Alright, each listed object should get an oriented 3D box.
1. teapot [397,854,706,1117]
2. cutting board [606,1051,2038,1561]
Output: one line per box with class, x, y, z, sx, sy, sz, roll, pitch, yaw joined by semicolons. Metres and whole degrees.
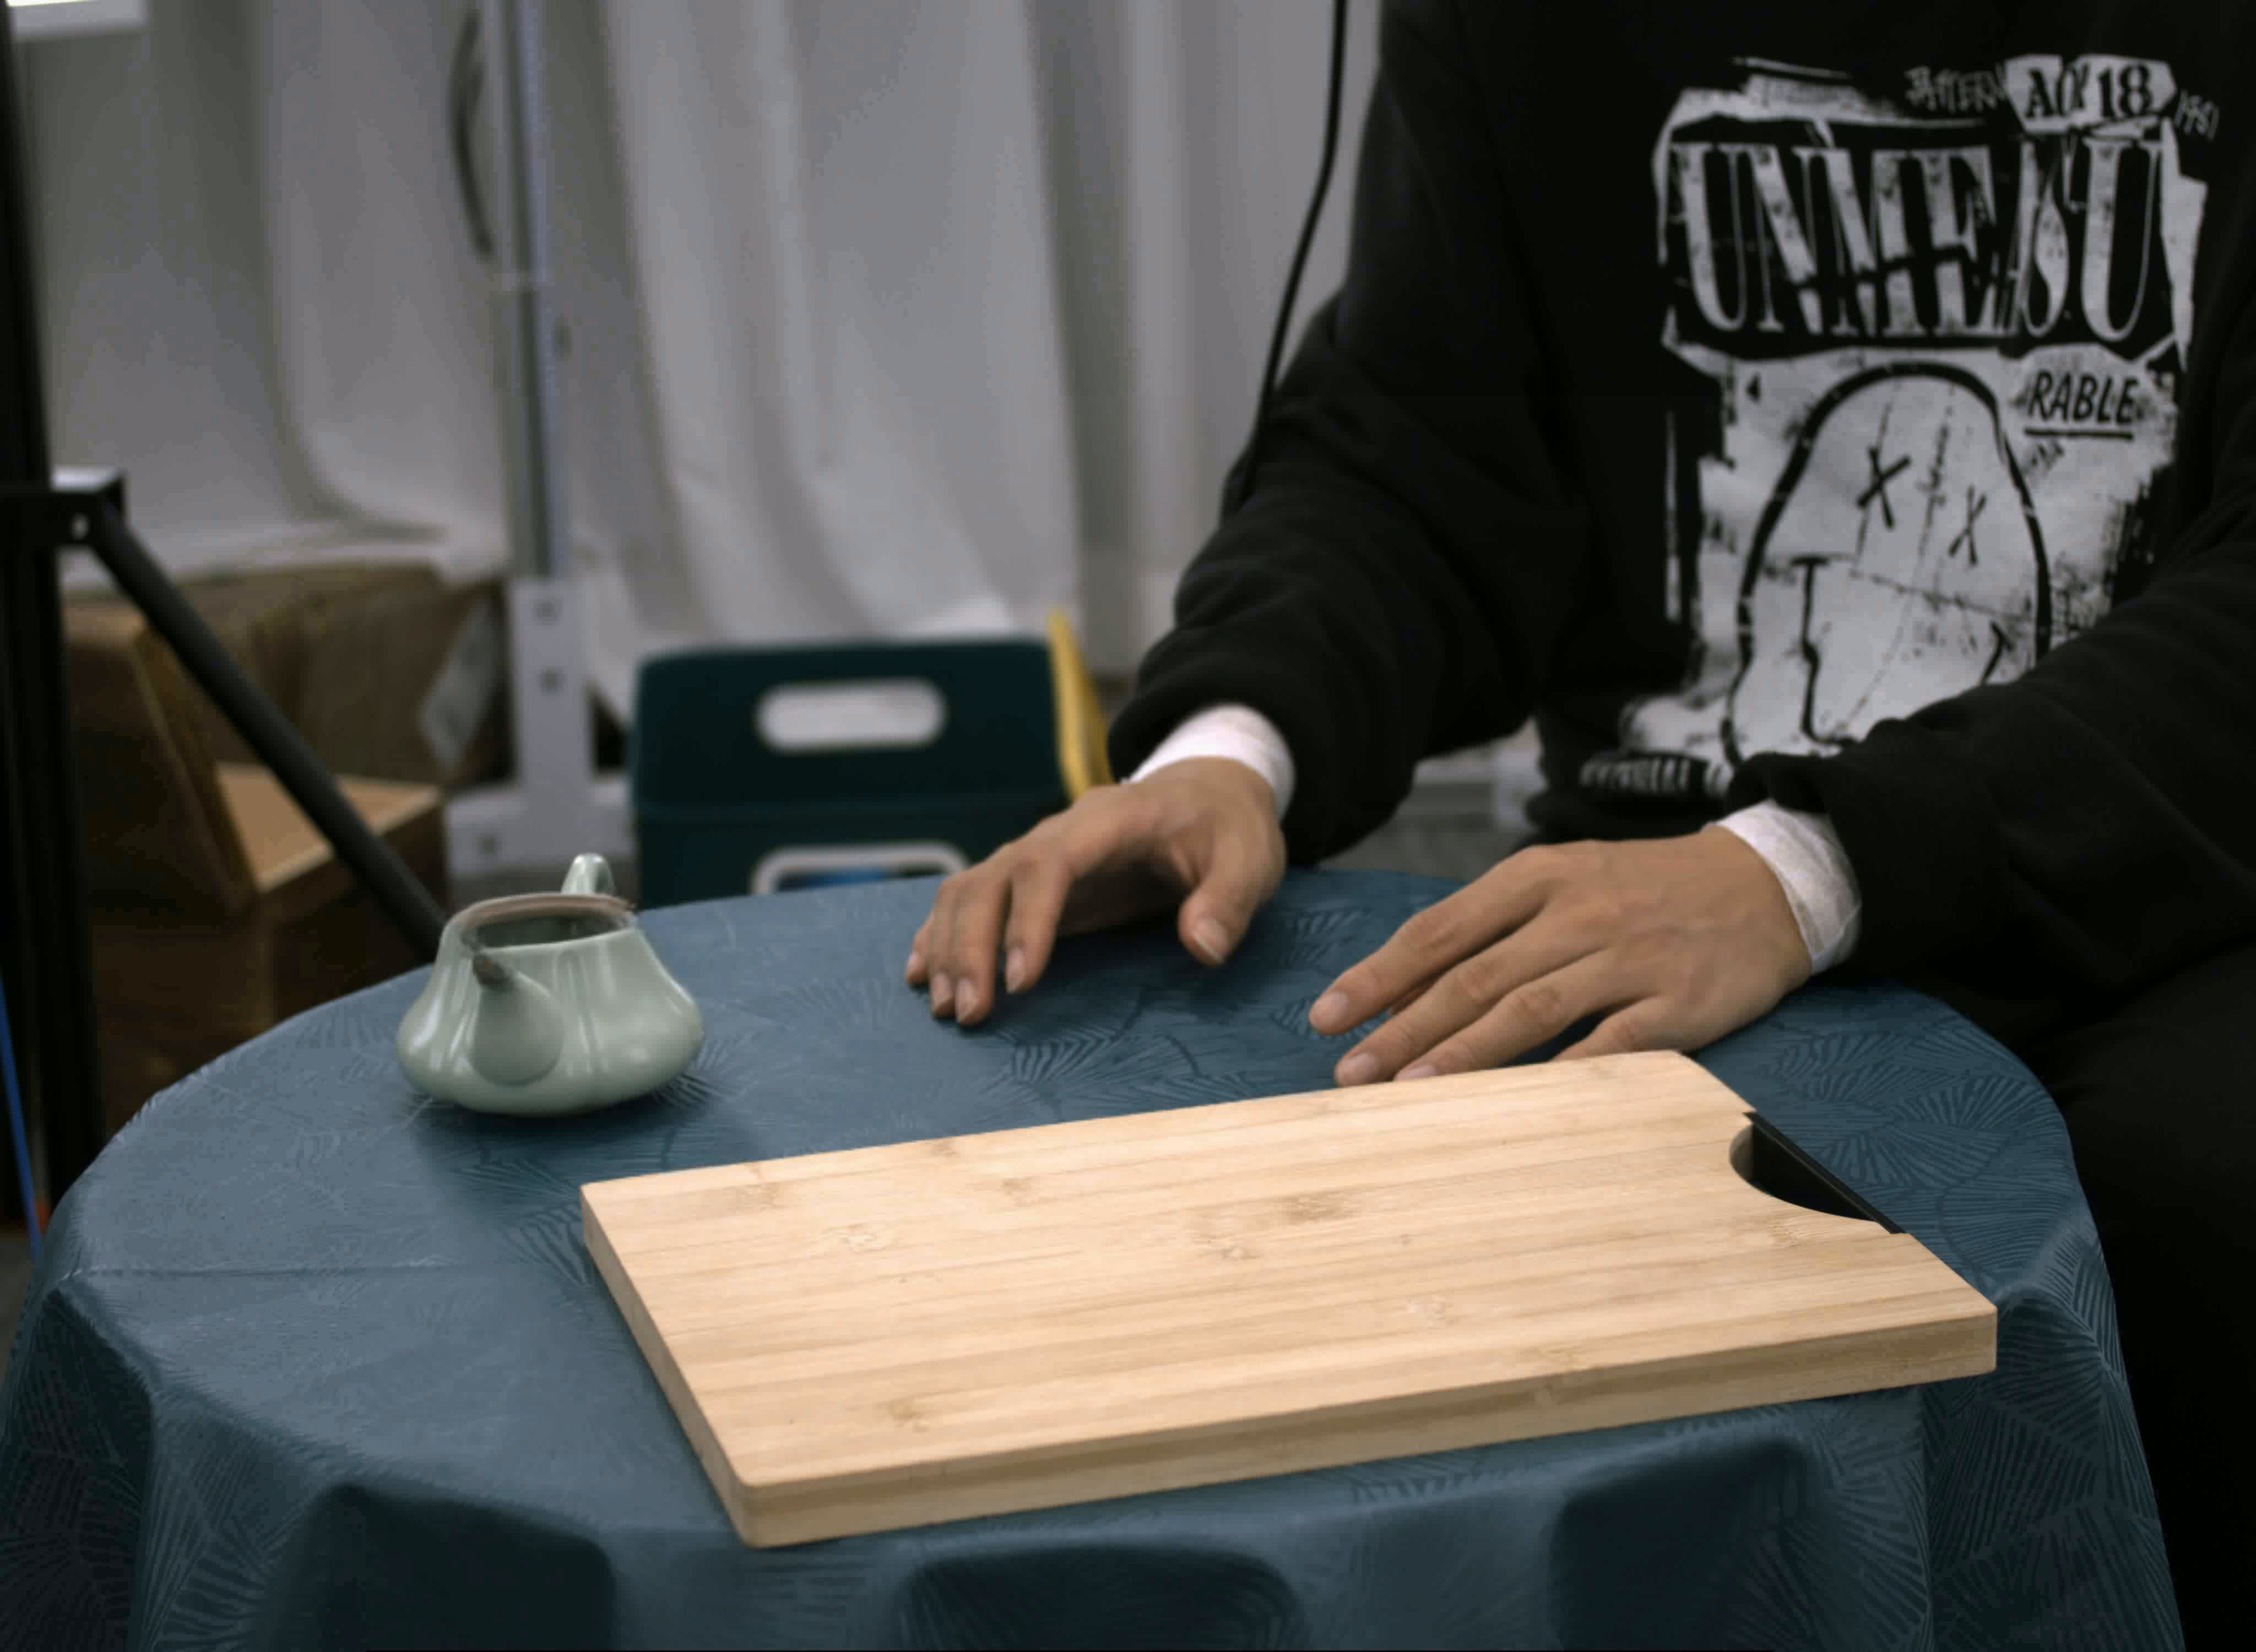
teapot;-0.180;0.053;1.669;0.096;0.061;0.137;-2;16;8
cutting board;0.042;0.125;1.460;0.343;0.023;0.254;-7;16;-14
